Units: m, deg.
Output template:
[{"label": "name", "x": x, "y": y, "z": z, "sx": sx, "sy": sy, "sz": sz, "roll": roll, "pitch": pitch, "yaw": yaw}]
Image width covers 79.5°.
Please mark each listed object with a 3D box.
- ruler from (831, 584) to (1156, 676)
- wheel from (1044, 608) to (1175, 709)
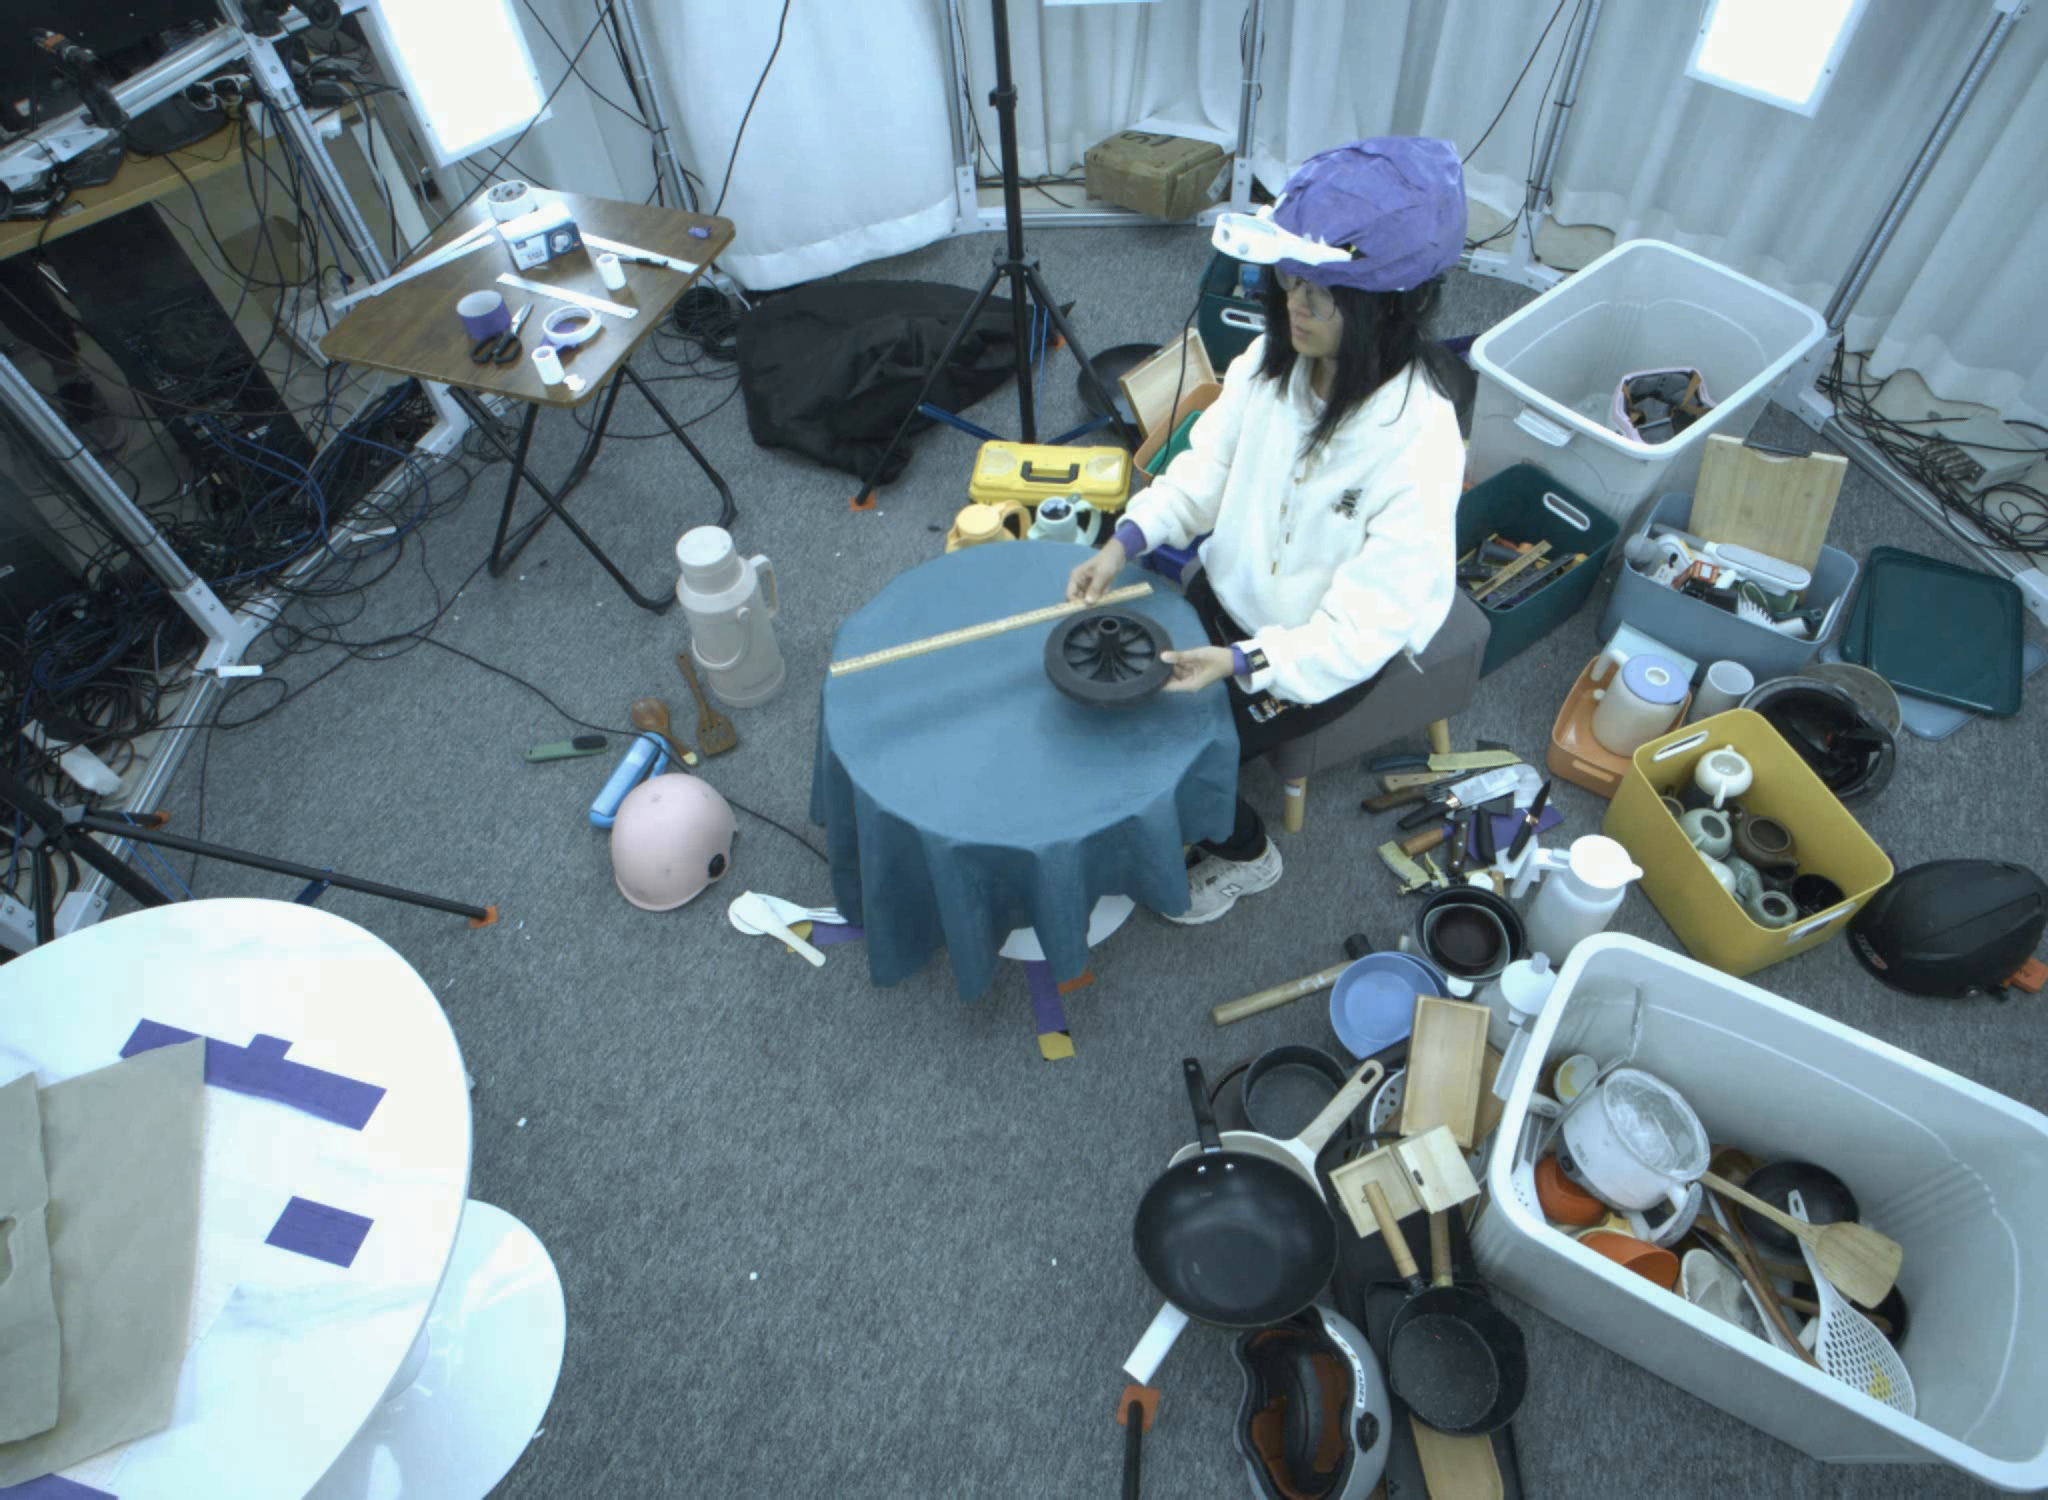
[{"label": "ruler", "x": -0.039, "y": -0.180, "z": 1.806, "sx": 0.505, "sy": 0.006, "sz": 0.026, "roll": -16, "pitch": 48, "yaw": -15}, {"label": "wheel", "x": 0.123, "y": -0.148, "z": 1.769, "sx": 0.187, "sy": 0.080, "sz": 0.188, "roll": 31, "pitch": 58, "yaw": 23}]
